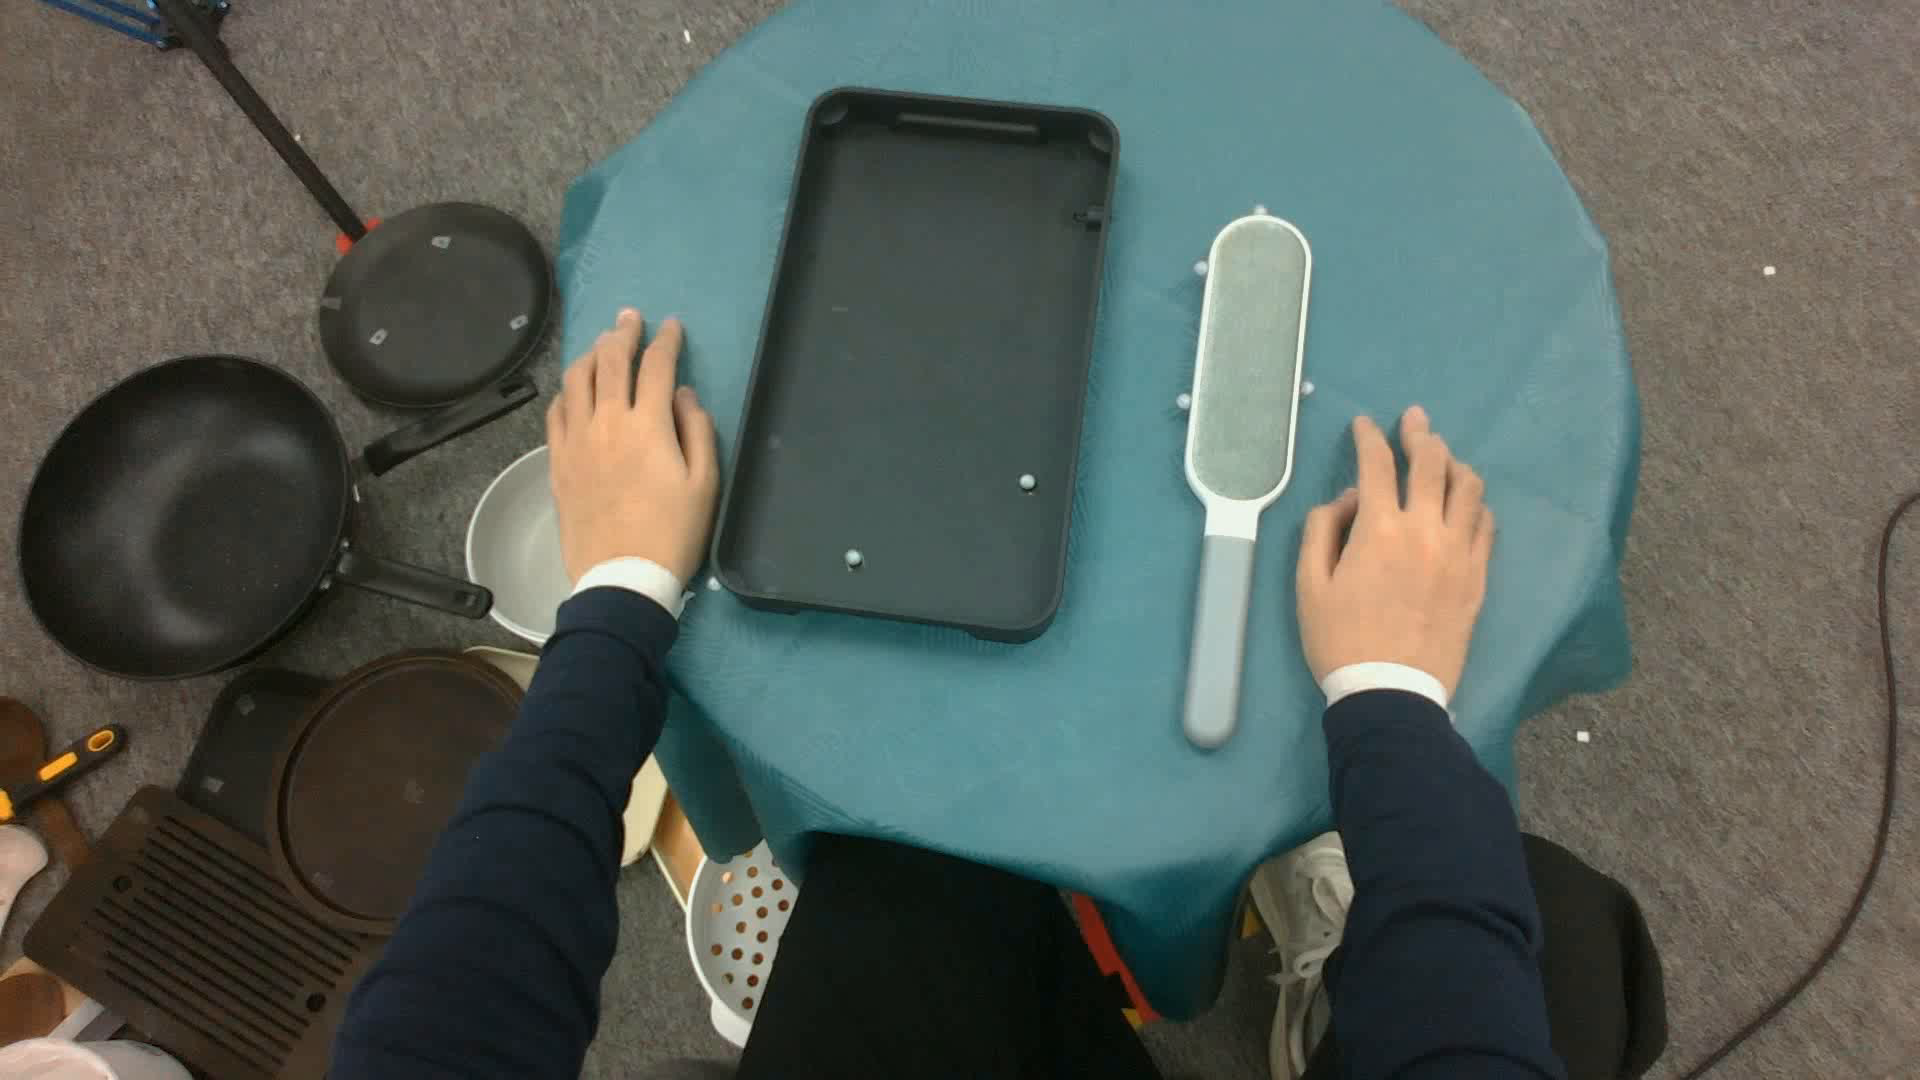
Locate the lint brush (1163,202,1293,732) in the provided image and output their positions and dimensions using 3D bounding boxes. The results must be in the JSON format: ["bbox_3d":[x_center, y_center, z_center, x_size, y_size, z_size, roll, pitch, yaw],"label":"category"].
[{"bbox_3d":[0.138,-0.049,0.736,0.060,0.021,0.310,10,70,0],"label":"lint brush"}]

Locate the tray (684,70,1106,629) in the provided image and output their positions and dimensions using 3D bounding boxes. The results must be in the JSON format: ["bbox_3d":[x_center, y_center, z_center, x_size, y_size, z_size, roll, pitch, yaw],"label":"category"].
[{"bbox_3d":[-0.029,-0.114,0.762,0.184,0.037,0.319,8,70,5],"label":"tray"}]
